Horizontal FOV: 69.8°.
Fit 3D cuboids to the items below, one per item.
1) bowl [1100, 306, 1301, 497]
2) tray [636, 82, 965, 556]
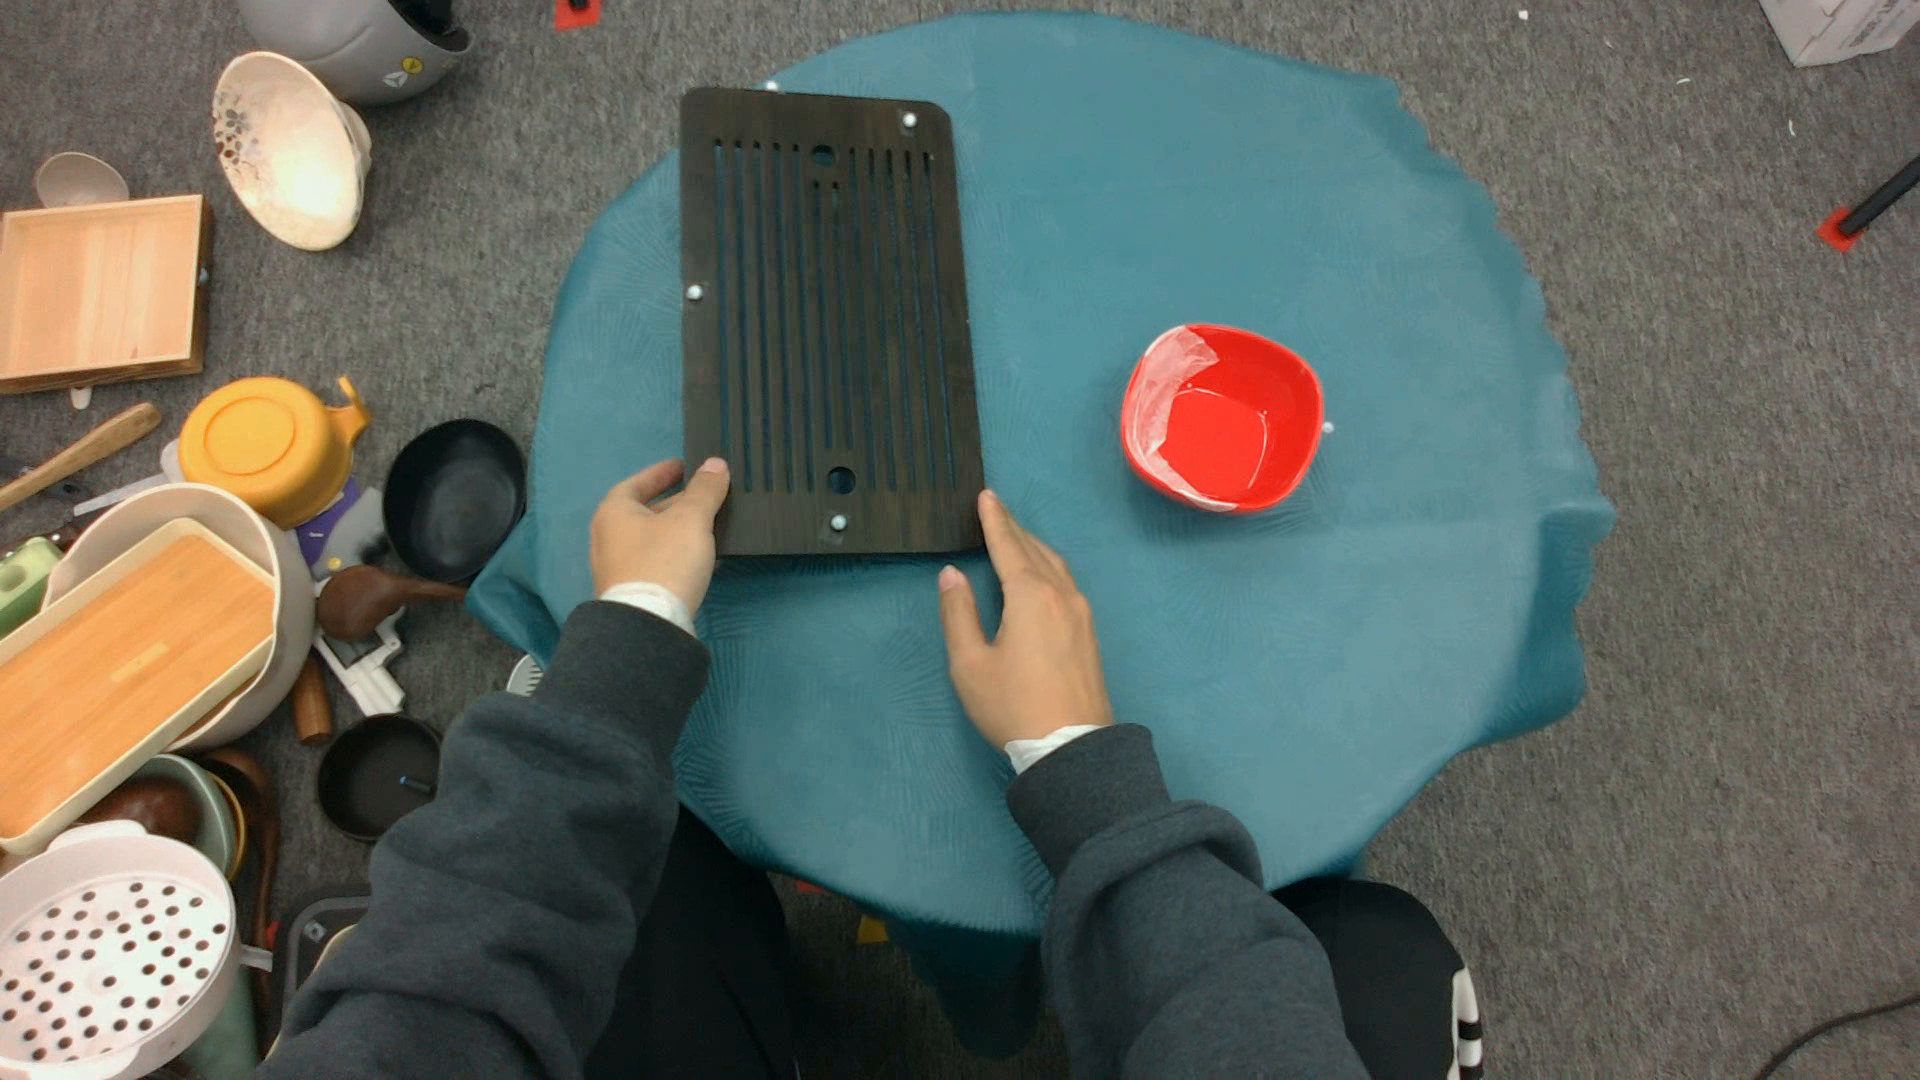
[{"bbox_3d":[0.133,-0.072,0.788,0.119,0.051,0.119,1,69,-3],"label":"bowl"},{"bbox_3d":[-0.098,-0.136,0.808,0.170,0.018,0.307,-2,70,-14],"label":"tray"}]
